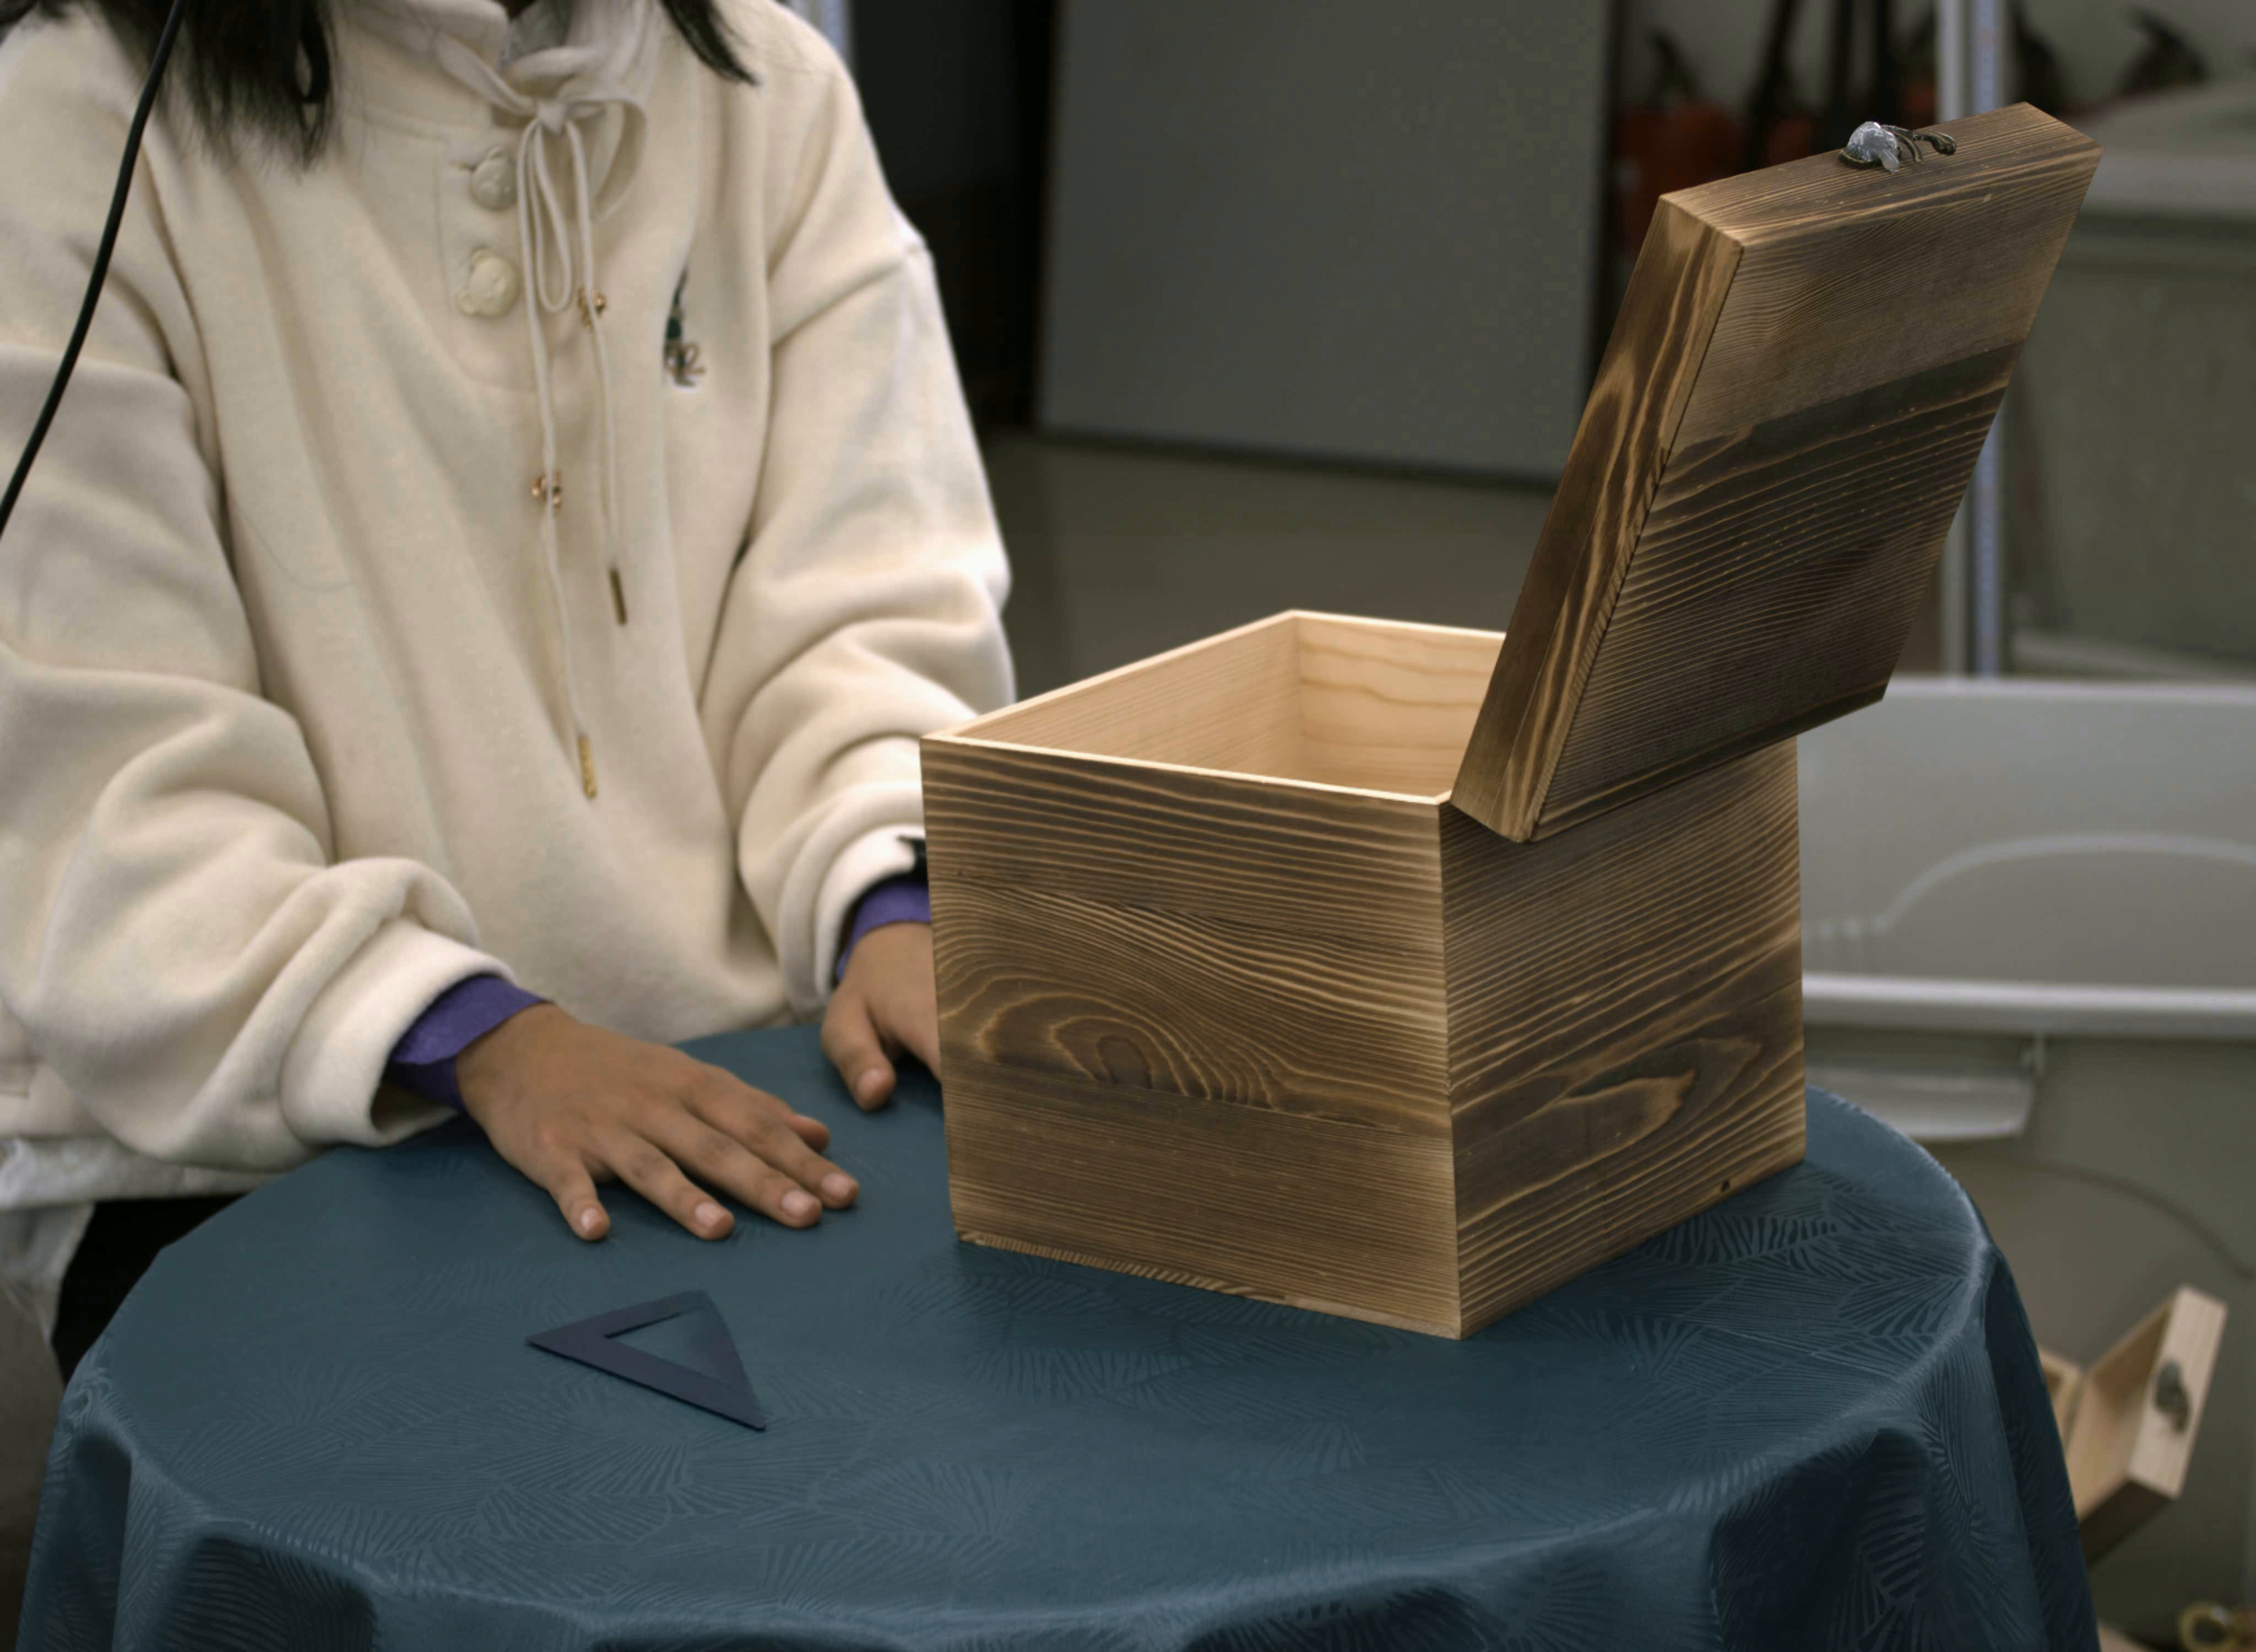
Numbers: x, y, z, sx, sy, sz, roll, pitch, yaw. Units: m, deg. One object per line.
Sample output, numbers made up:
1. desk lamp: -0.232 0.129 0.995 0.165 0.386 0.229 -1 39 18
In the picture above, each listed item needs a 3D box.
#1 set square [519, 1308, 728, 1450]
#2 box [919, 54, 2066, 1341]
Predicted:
1. set square: -0.152 0.166 1.624 0.060 0.006 0.132 -3 13 -6
2. box: 0.114 -0.048 1.671 0.324 0.379 0.205 8 17 38
